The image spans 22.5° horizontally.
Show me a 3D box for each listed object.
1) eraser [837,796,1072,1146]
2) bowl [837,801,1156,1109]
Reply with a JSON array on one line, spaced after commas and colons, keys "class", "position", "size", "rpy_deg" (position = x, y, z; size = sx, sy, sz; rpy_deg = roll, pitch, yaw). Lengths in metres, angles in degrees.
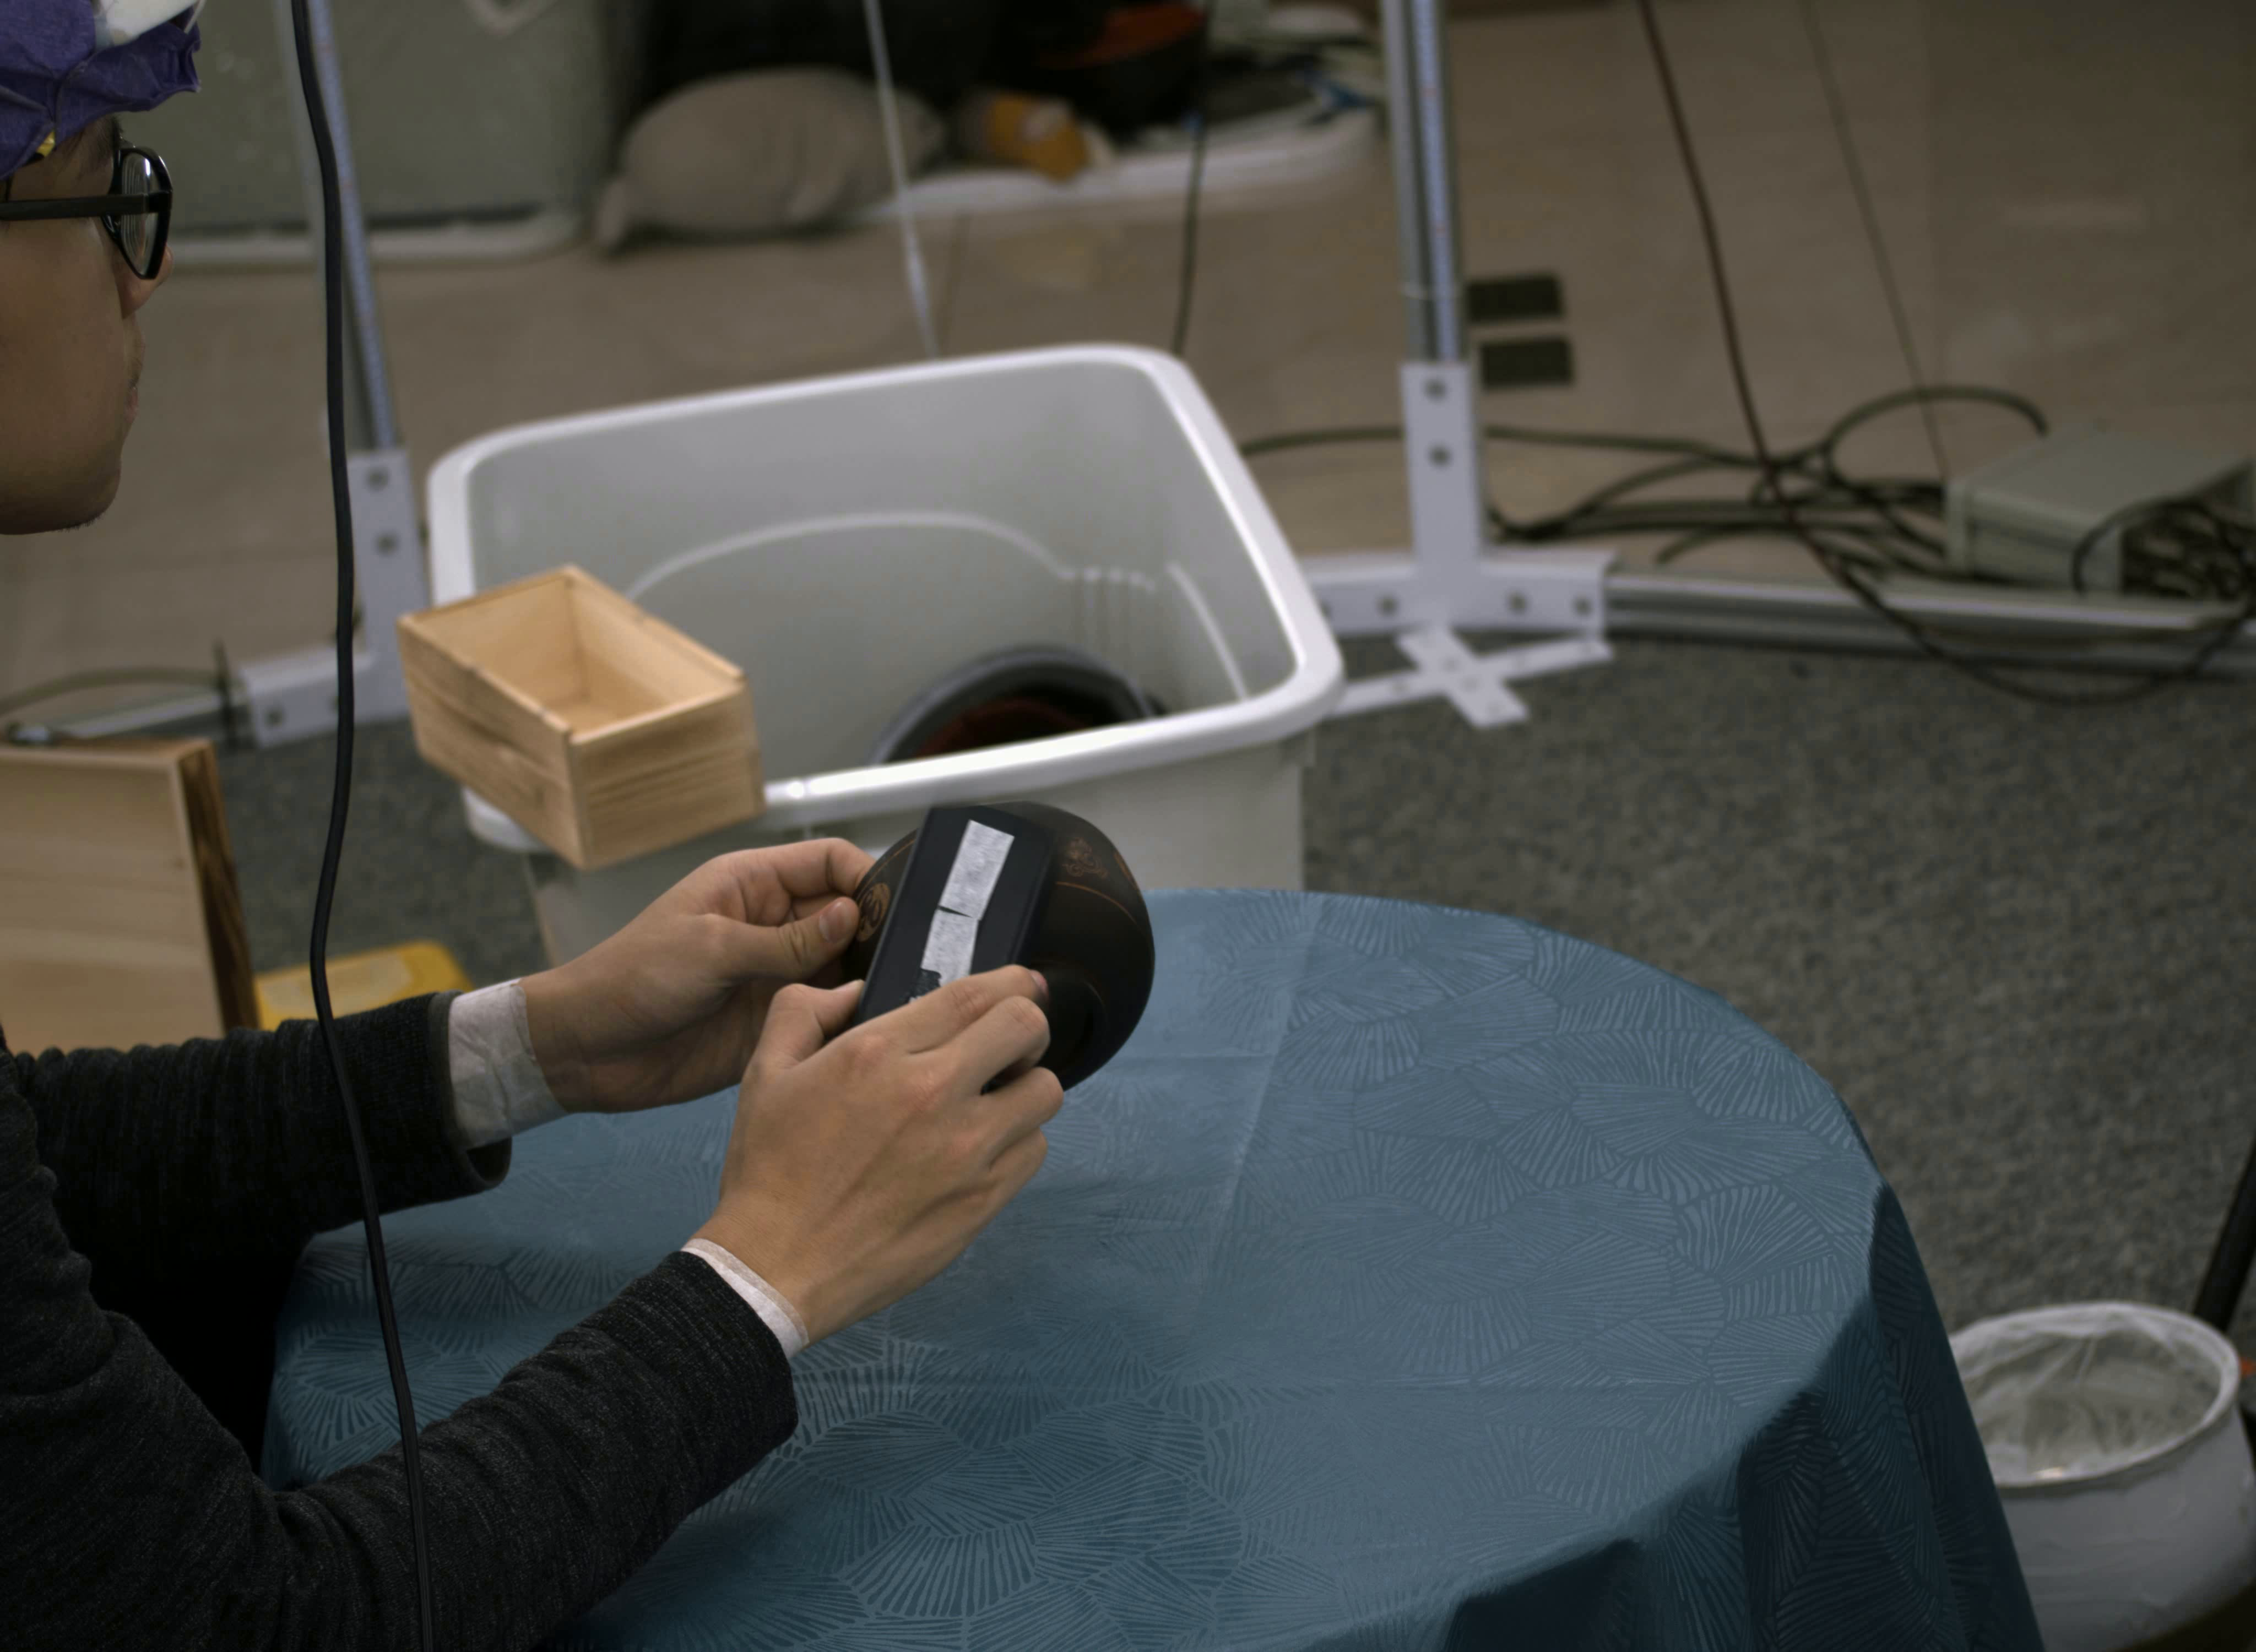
[{"class": "eraser", "position": [-0.061, 0.051, 2.024], "size": [0.053, 0.031, 0.124], "rpy_deg": [14, 65, 7]}, {"class": "bowl", "position": [-0.044, 0.056, 2.097], "size": [0.118, 0.120, 0.068], "rpy_deg": [-12, 41, -12]}]
